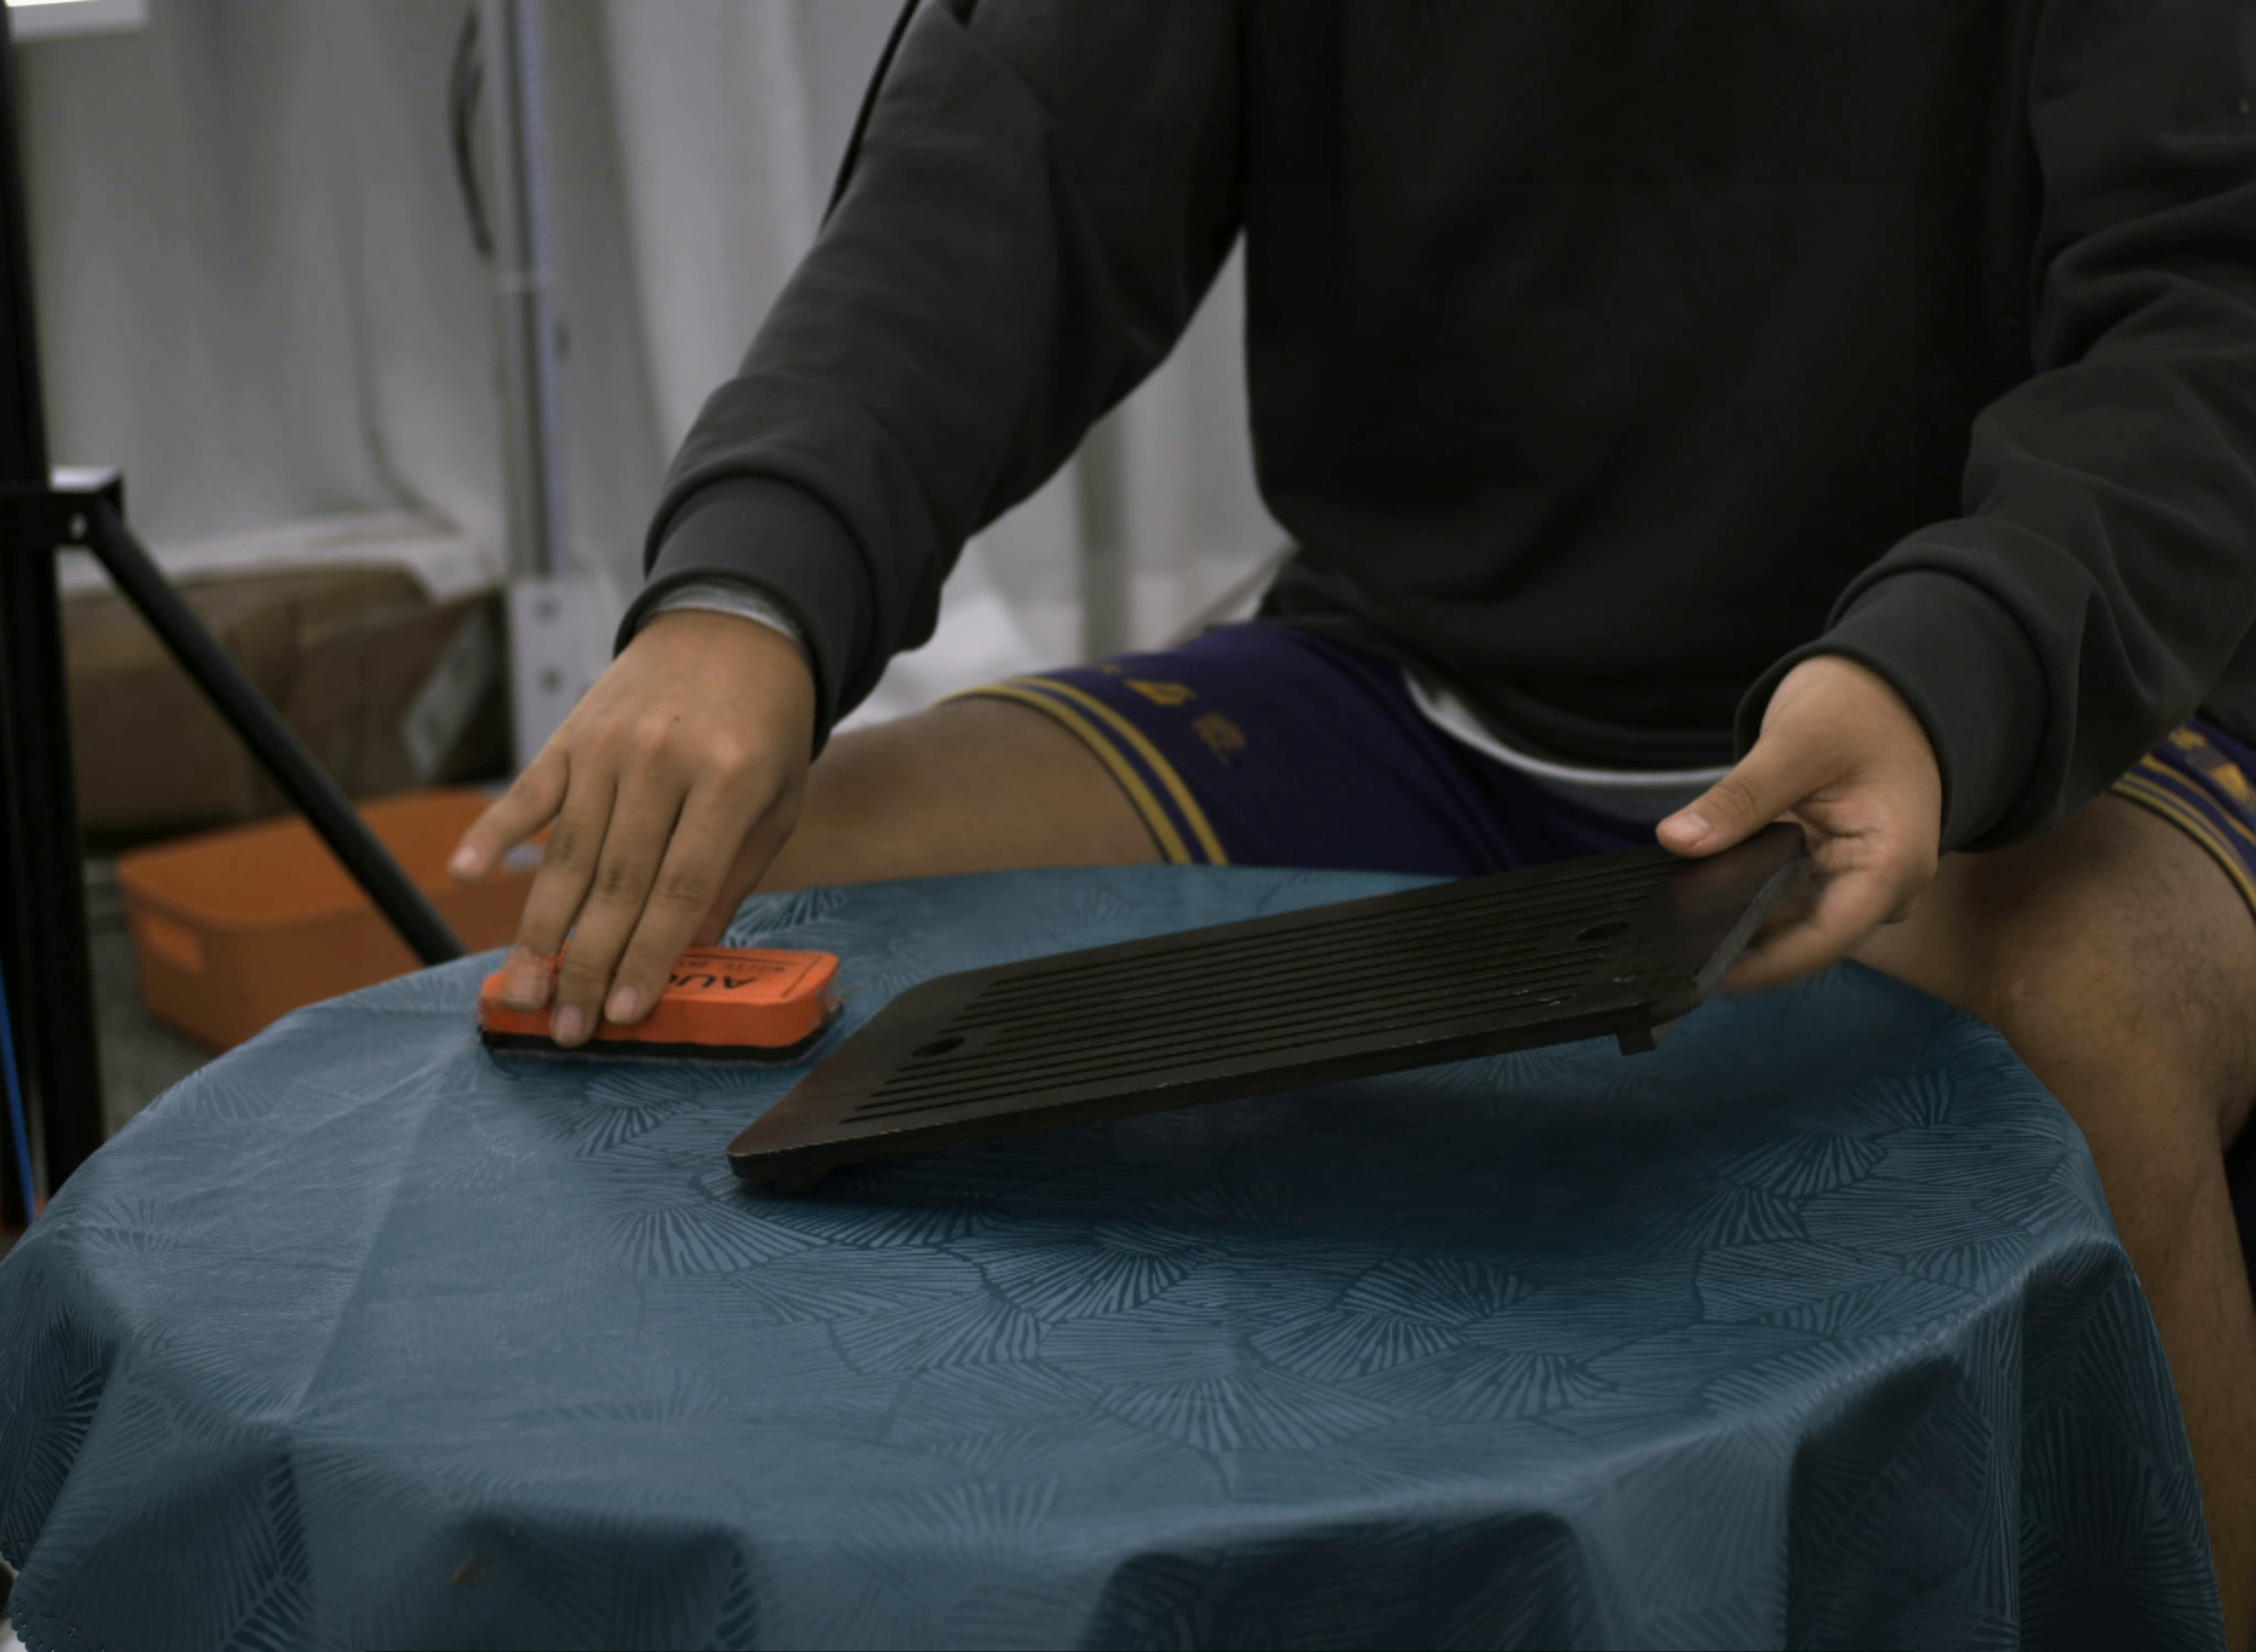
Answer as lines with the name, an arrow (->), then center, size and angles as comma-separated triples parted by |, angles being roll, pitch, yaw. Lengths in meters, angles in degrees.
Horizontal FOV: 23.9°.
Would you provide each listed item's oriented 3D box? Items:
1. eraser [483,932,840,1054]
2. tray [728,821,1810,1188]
eraser -> -0.150, 0.054, 1.722 | 0.109, 0.023, 0.058 | 1, 16, 17
tray -> 0.044, 0.055, 1.587 | 0.310, 0.018, 0.168 | -11, 13, 24
